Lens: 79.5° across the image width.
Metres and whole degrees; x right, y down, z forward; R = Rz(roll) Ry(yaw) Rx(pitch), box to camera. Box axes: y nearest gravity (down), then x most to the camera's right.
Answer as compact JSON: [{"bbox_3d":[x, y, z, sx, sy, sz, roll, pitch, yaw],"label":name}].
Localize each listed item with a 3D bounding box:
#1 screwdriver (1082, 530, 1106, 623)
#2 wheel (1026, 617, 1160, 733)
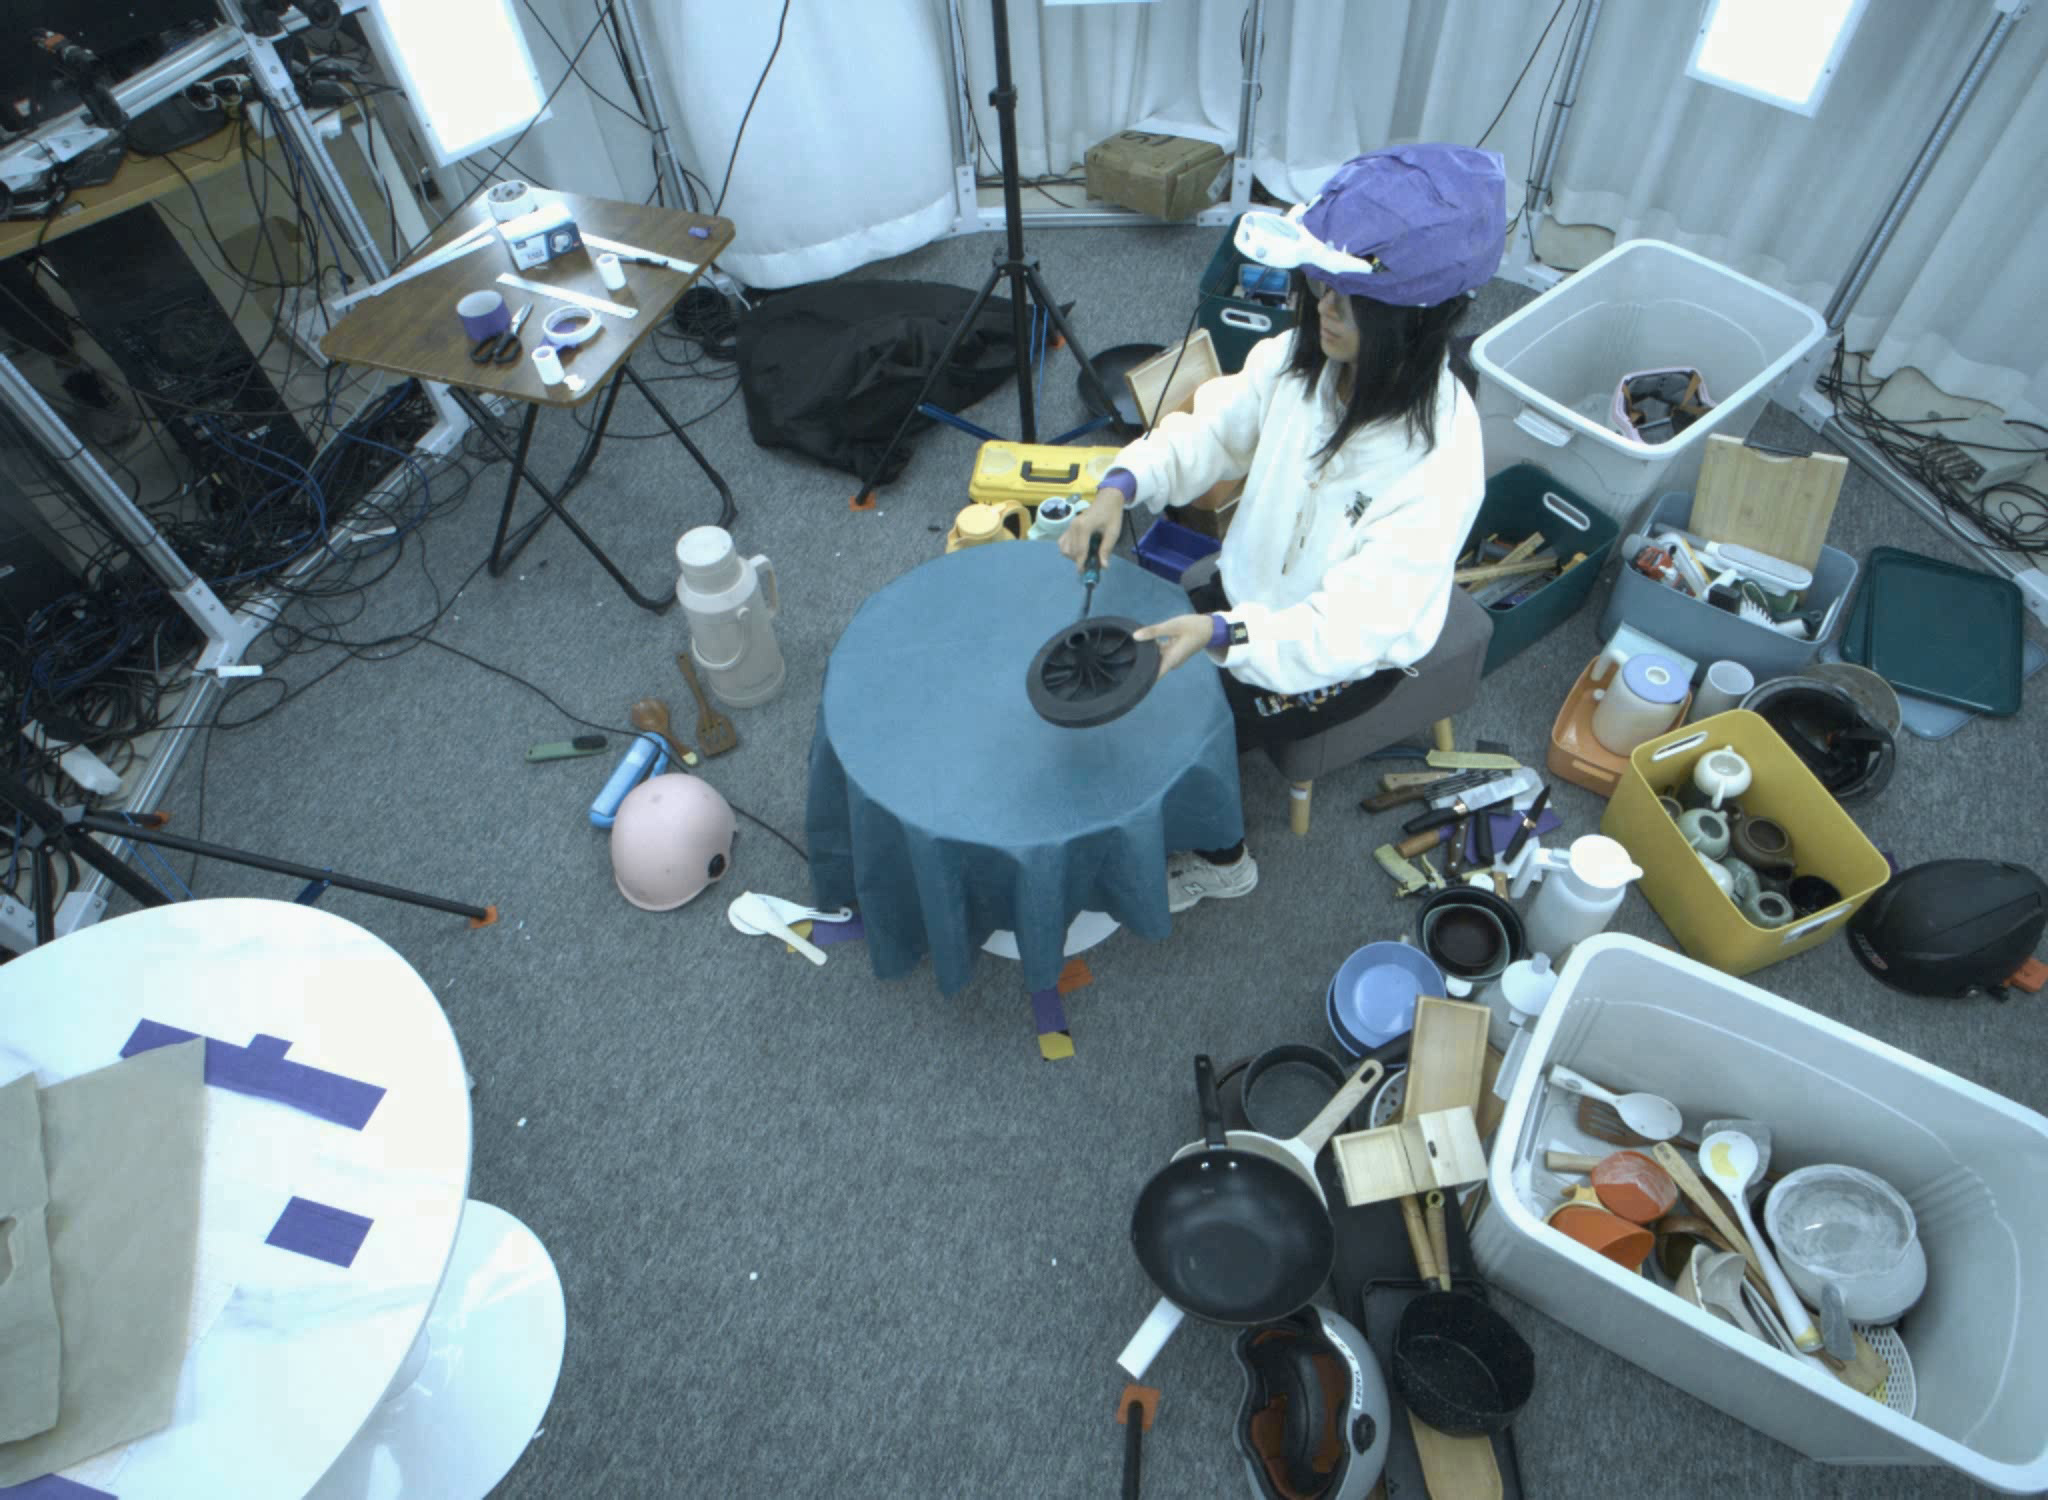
[{"bbox_3d":[0.096,-0.249,1.767,0.033,0.034,0.188,4,50,6],"label":"screwdriver"},{"bbox_3d":[0.083,-0.115,1.647,0.189,0.081,0.184,-28,47,4],"label":"wheel"}]
